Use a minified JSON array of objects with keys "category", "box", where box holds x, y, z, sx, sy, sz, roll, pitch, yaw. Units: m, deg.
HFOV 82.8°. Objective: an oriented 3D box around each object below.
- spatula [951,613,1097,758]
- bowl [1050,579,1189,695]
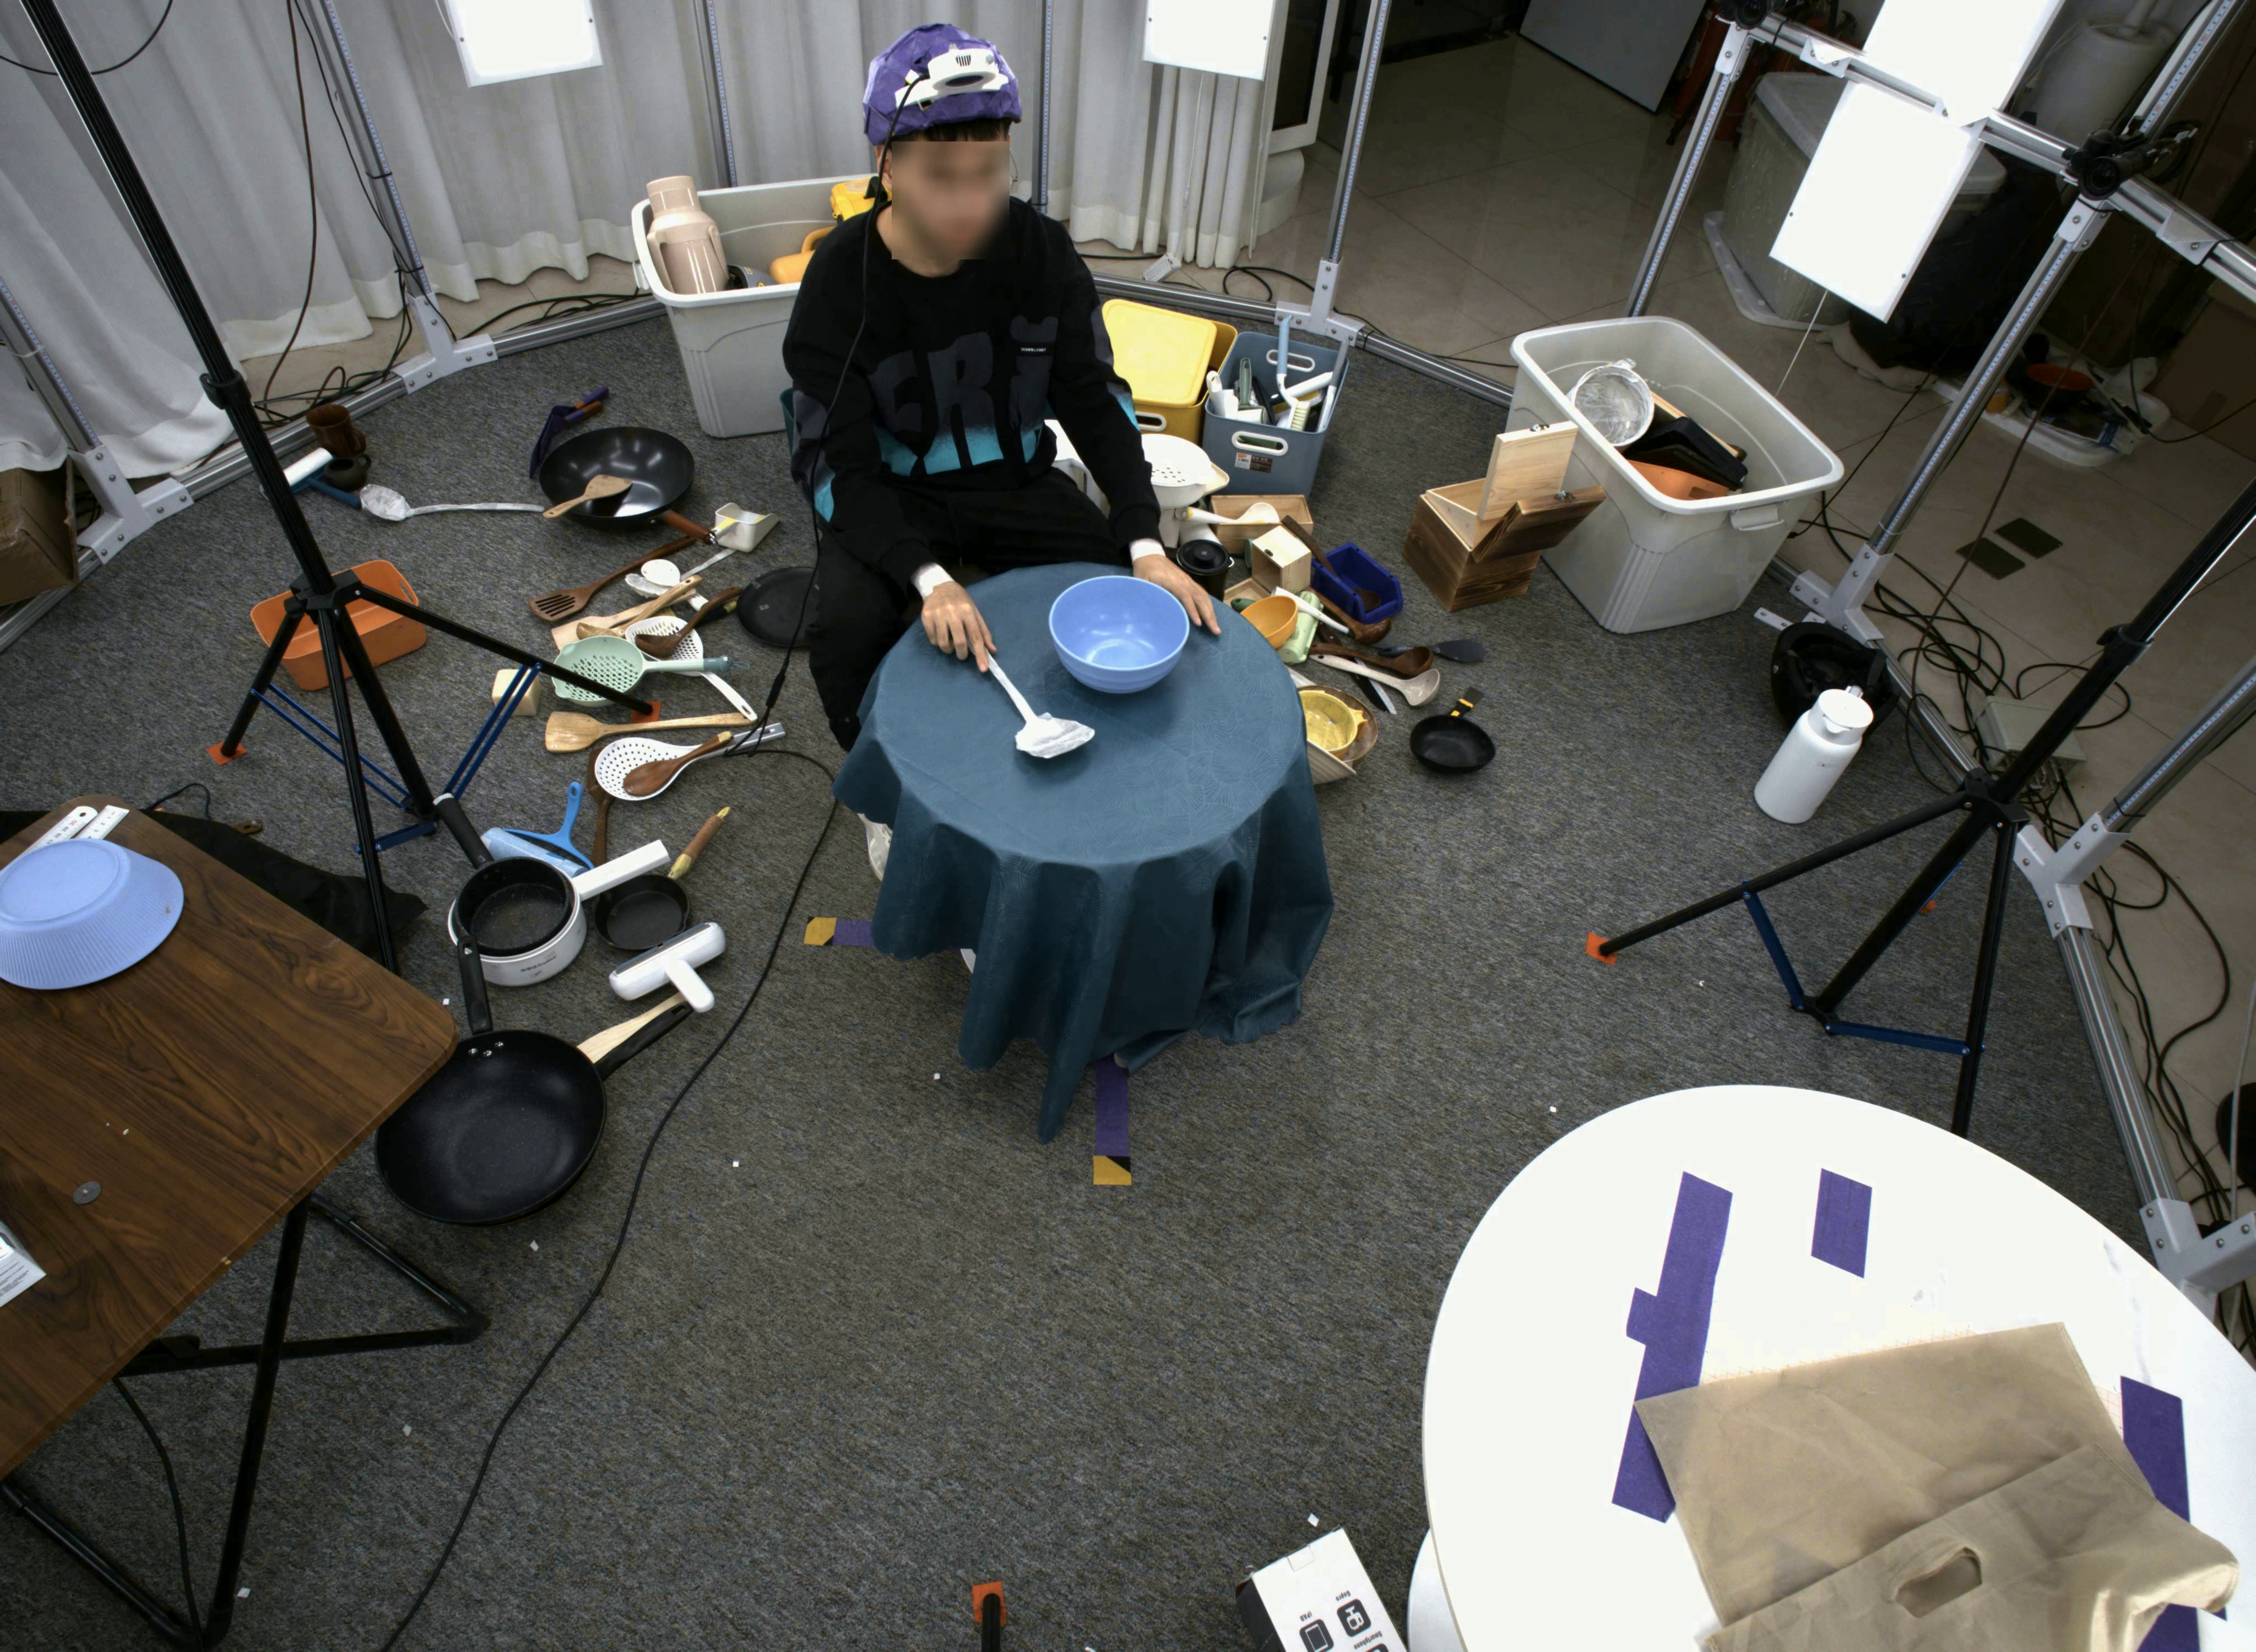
[{"category":"spatula","box":[-0.171,-0.211,1.832,0.099,0.043,0.372,-24,54,-21]},{"category":"bowl","box":[-0.013,-0.256,1.846,0.196,0.093,0.201,1,49,-2]}]
